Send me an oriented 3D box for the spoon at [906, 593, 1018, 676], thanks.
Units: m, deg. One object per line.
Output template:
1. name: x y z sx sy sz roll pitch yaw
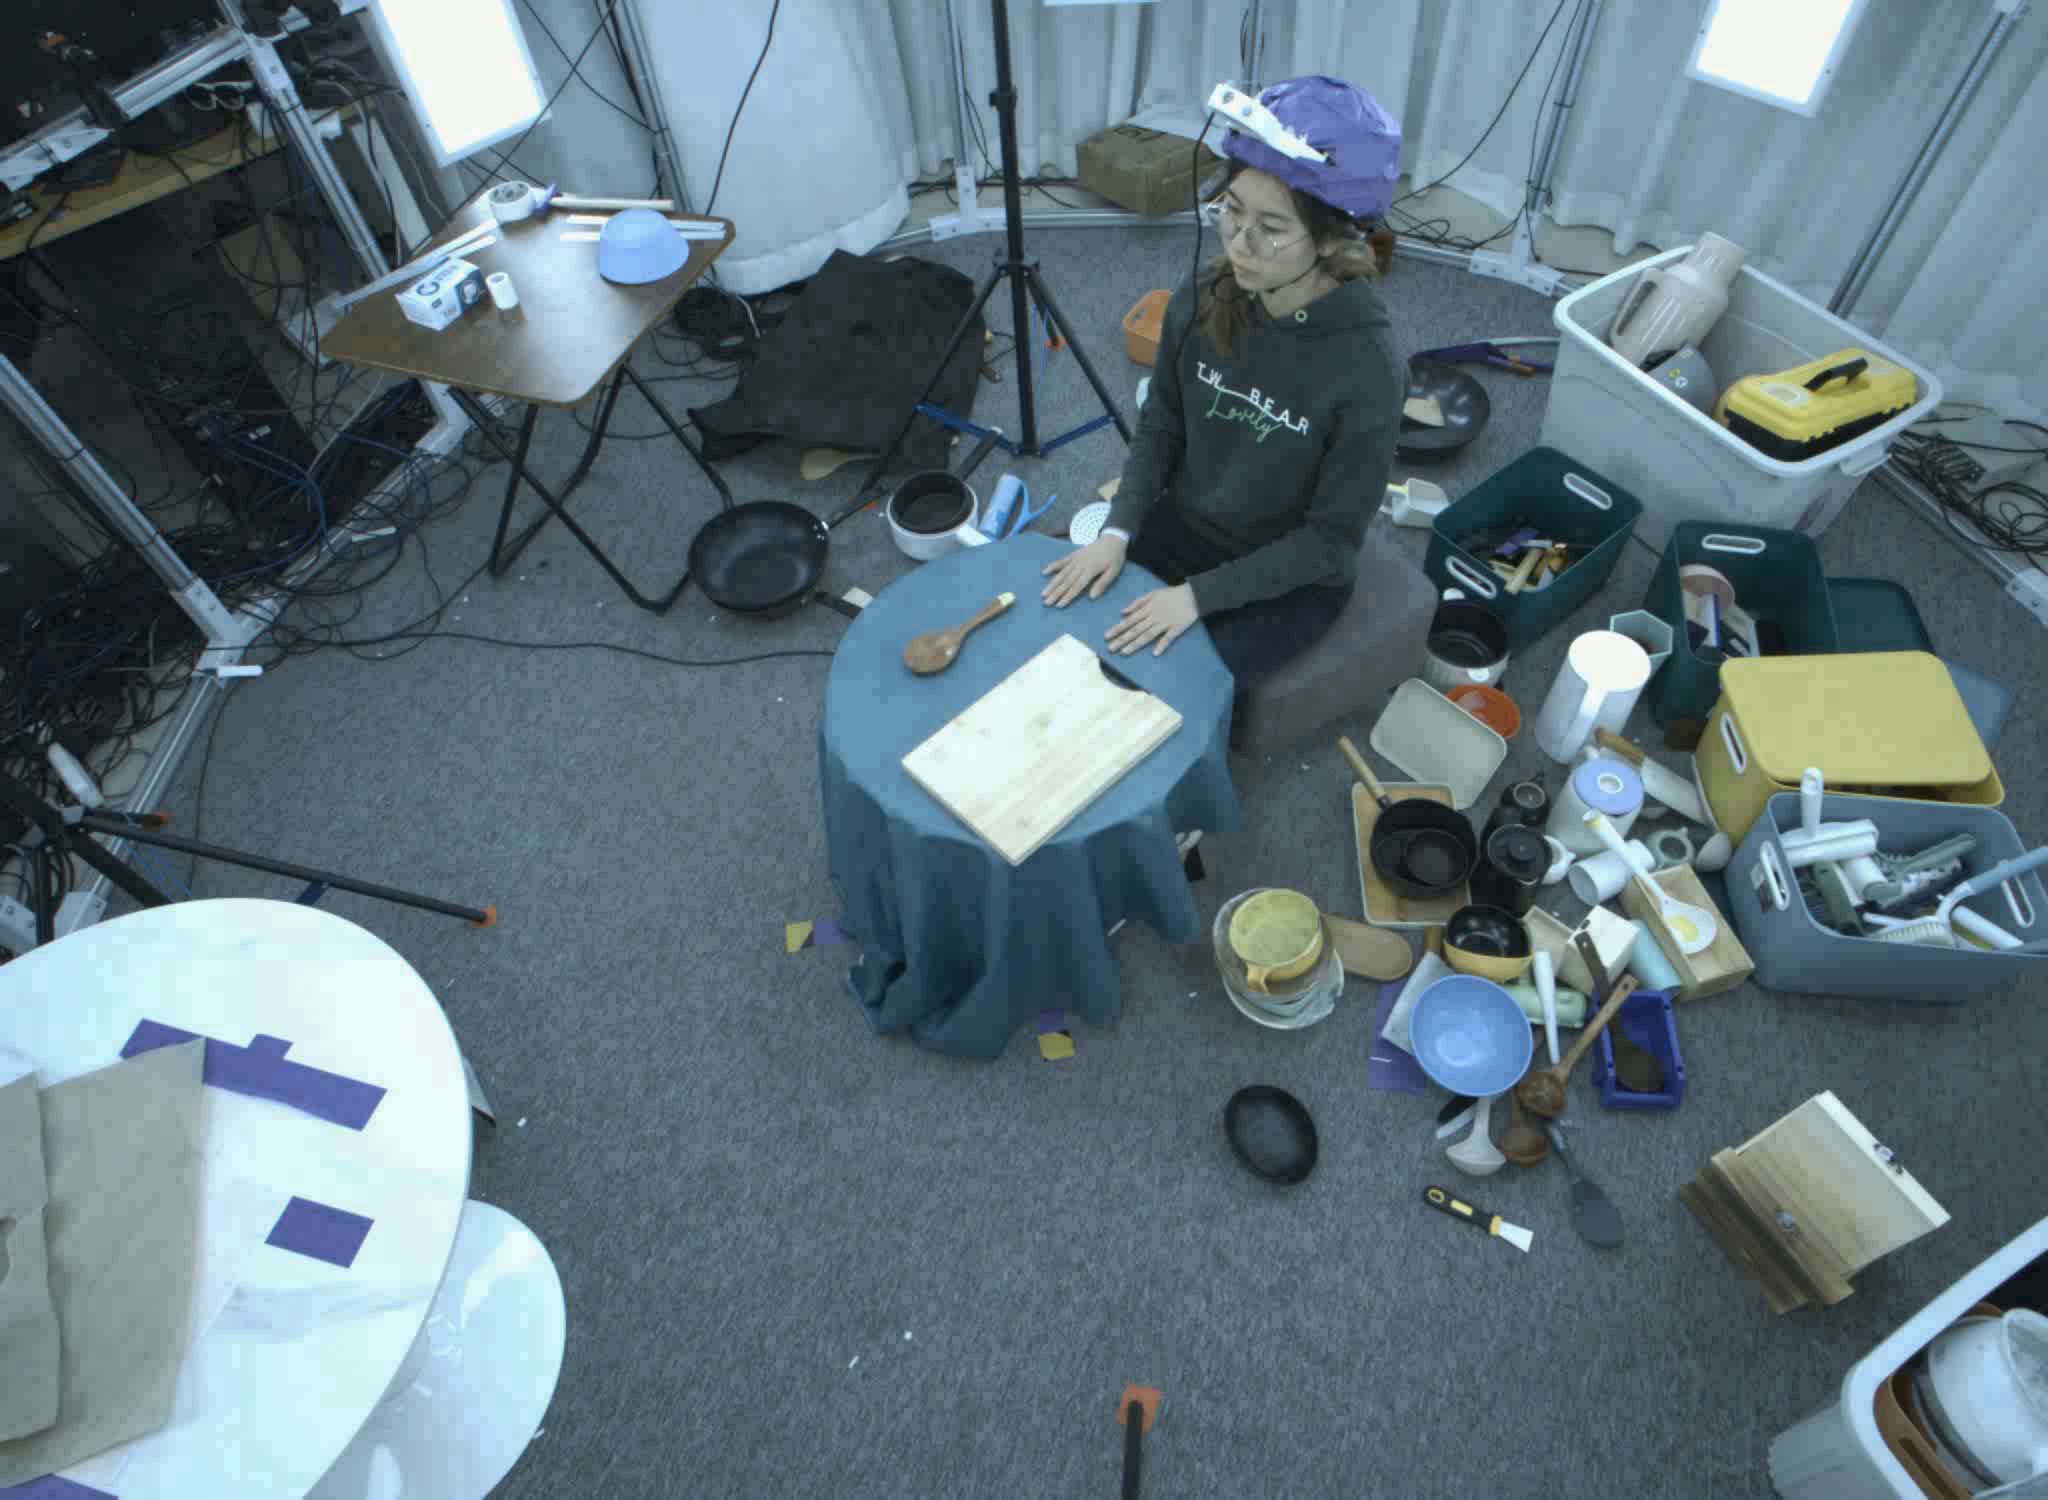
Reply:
1. spoon: -0.094 -0.181 1.916 0.217 0.017 0.074 -39 61 -22

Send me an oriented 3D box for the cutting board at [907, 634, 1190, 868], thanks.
1. cutting board: 0.035 -0.009 1.794 0.246 0.024 0.351 39 64 24
